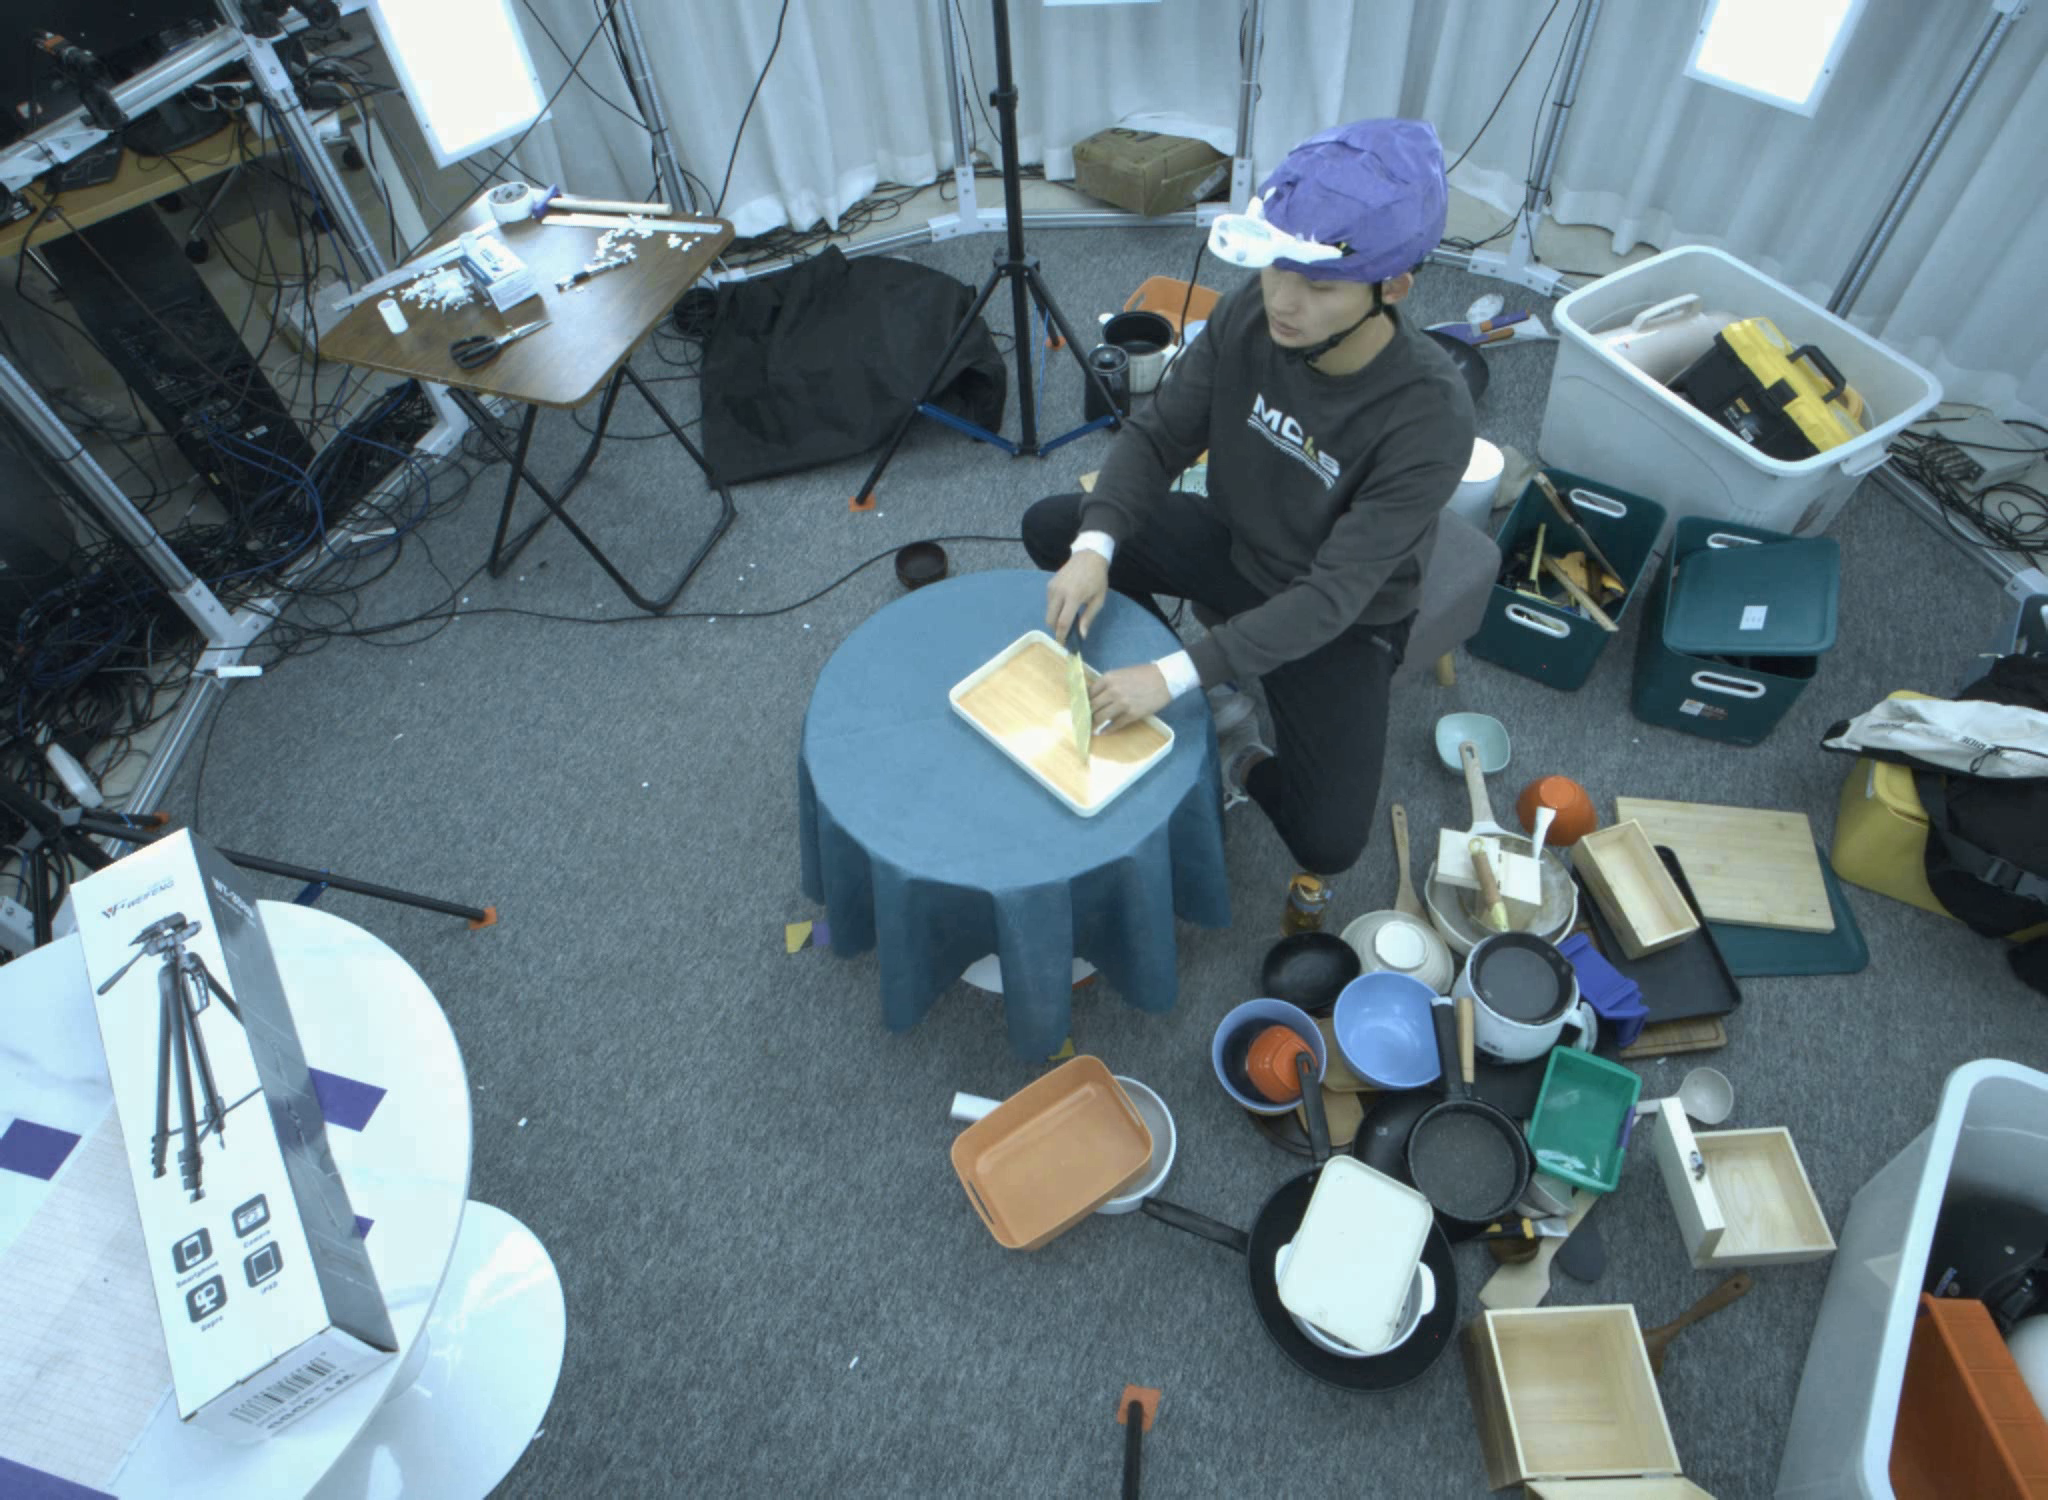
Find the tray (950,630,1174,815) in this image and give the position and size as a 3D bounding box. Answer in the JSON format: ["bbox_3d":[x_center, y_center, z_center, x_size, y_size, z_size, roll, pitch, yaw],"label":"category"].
[{"bbox_3d":[0.053,-0.046,1.811,0.193,0.027,0.295,-38,62,-24],"label":"tray"}]

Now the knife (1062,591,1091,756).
[{"bbox_3d":[0.075,-0.115,1.819,0.027,0.081,0.286,6,57,-17],"label":"knife"}]
